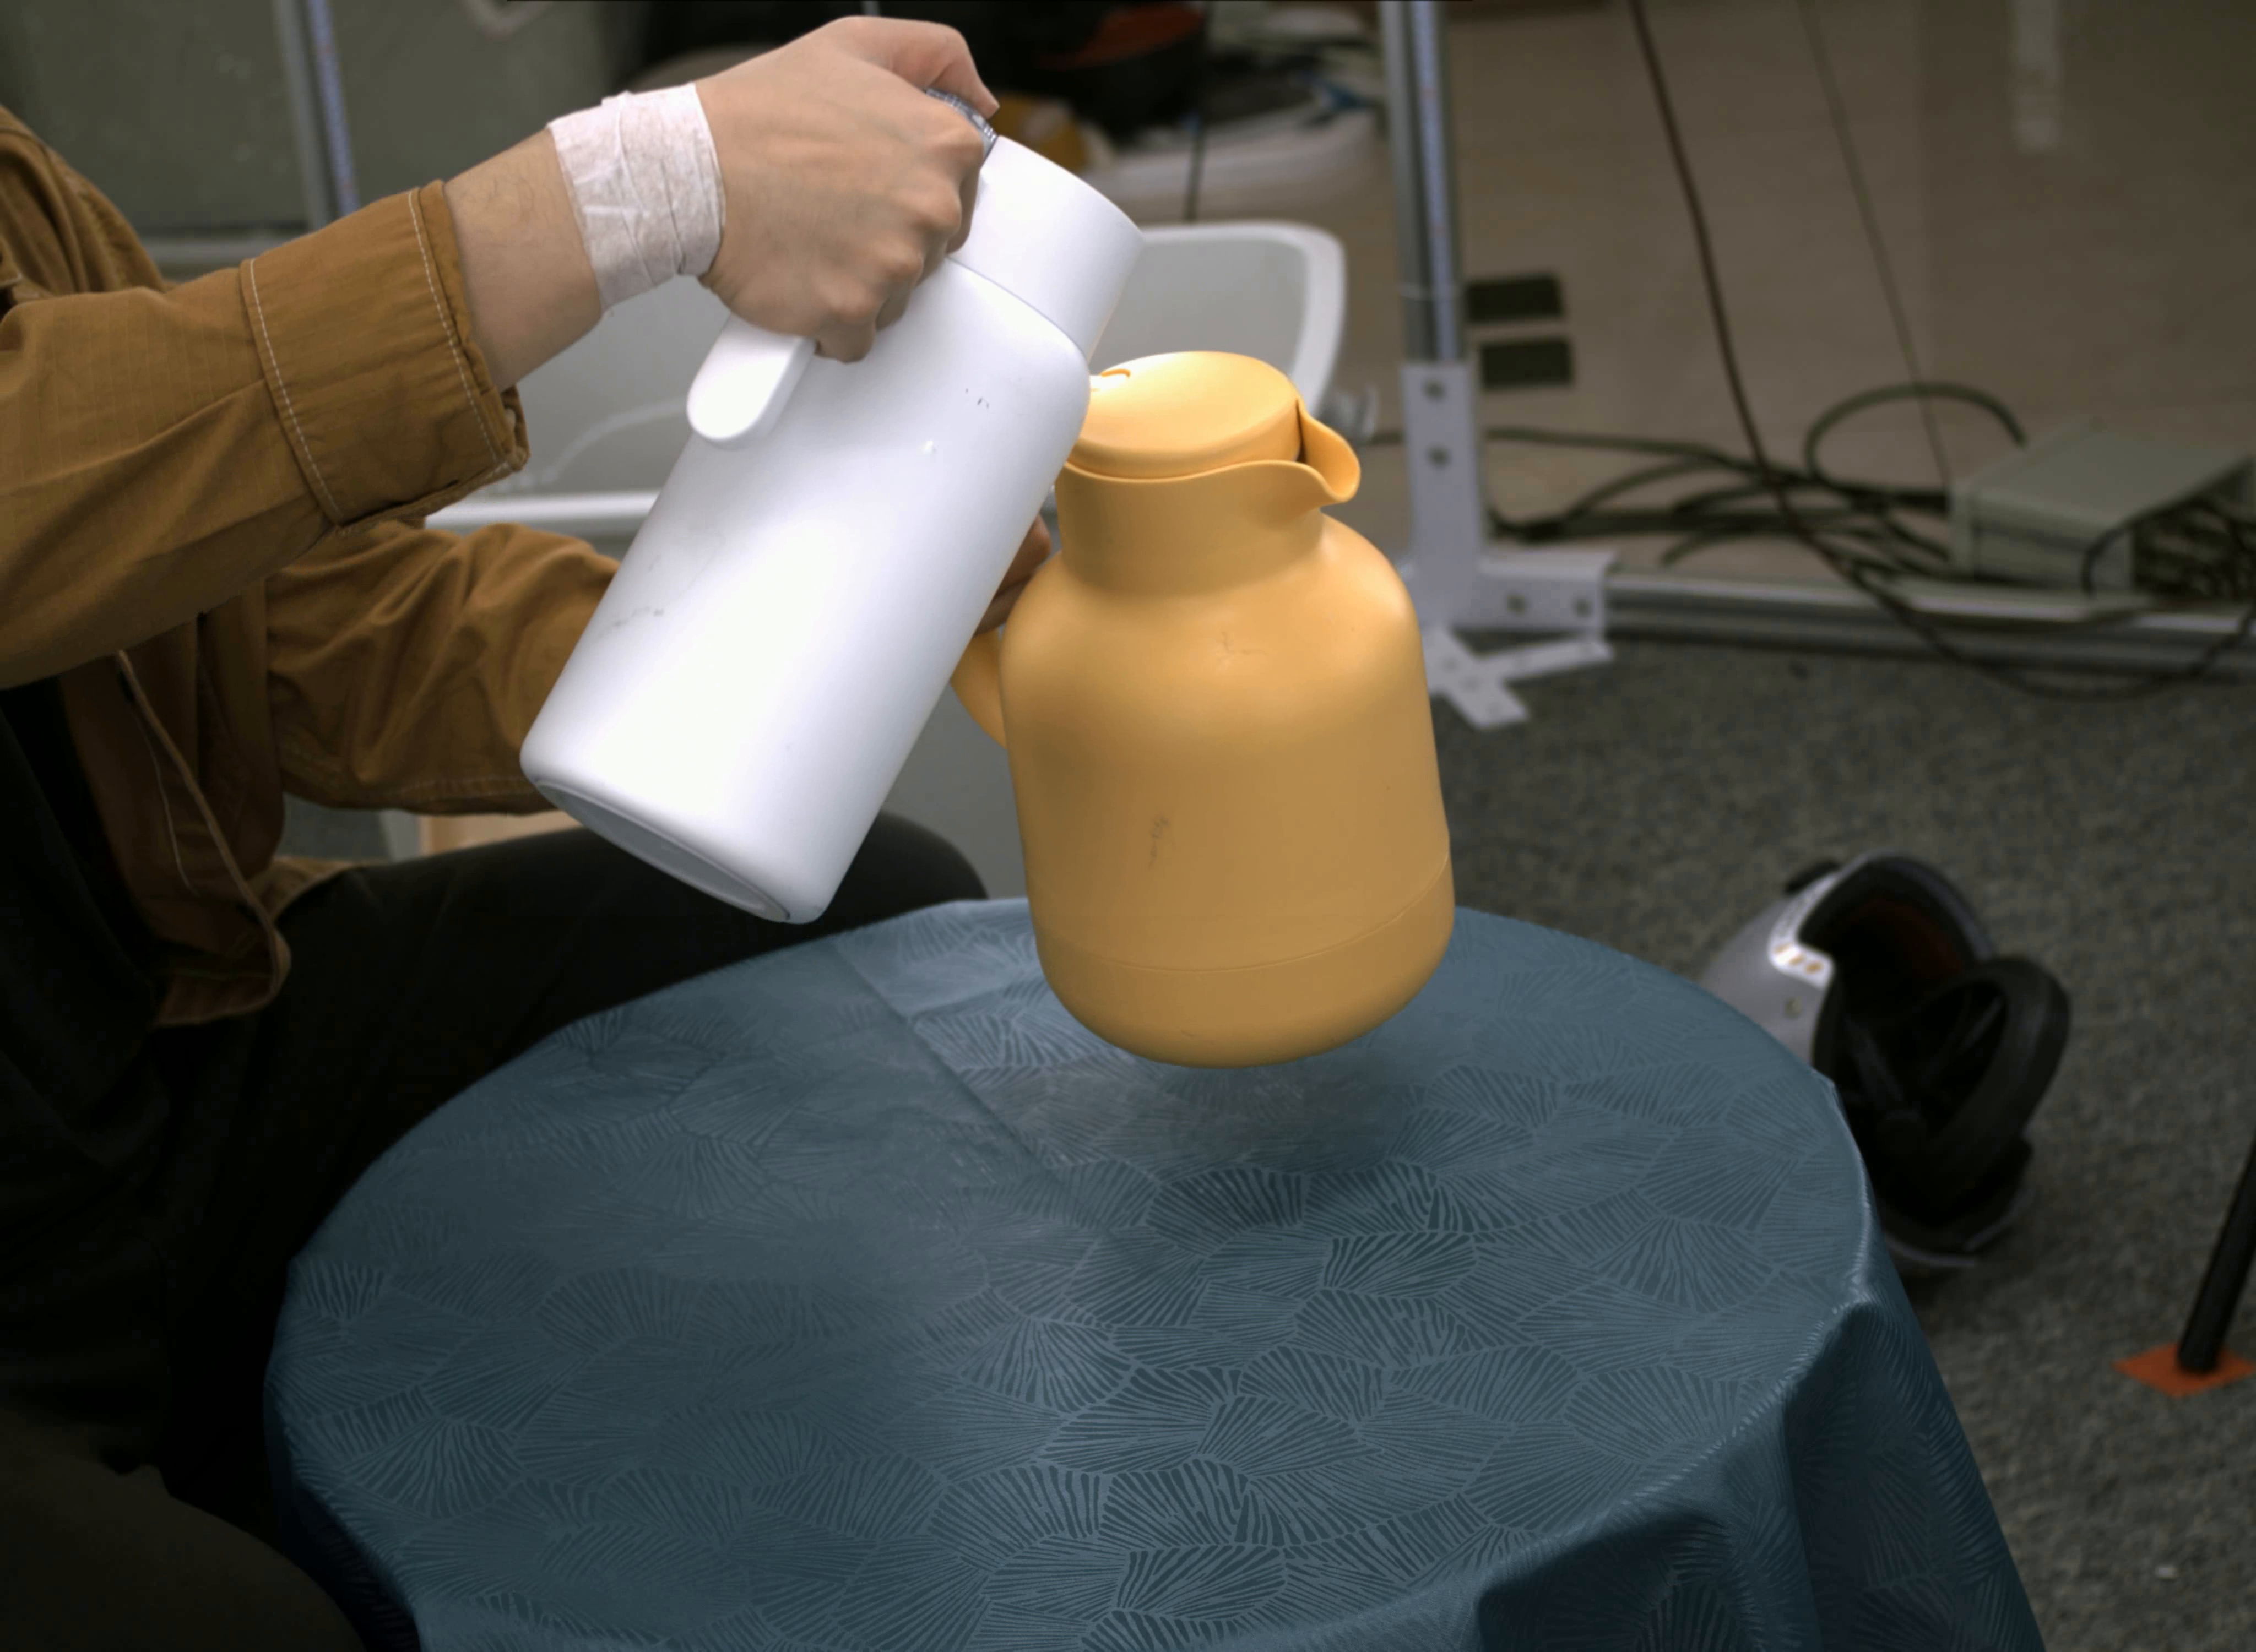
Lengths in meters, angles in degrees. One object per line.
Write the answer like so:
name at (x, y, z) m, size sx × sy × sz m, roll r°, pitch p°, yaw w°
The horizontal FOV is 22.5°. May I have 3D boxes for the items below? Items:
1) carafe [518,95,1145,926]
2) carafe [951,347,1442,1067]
carafe at (-0.102, -0.111, 1.916) m, size 0.123 × 0.174 × 0.268 m, roll 27°, pitch 83°, yaw 26°
carafe at (0.017, -0.054, 2.138) m, size 0.201 × 0.265 × 0.161 m, roll 17°, pitch 36°, yaw 34°
